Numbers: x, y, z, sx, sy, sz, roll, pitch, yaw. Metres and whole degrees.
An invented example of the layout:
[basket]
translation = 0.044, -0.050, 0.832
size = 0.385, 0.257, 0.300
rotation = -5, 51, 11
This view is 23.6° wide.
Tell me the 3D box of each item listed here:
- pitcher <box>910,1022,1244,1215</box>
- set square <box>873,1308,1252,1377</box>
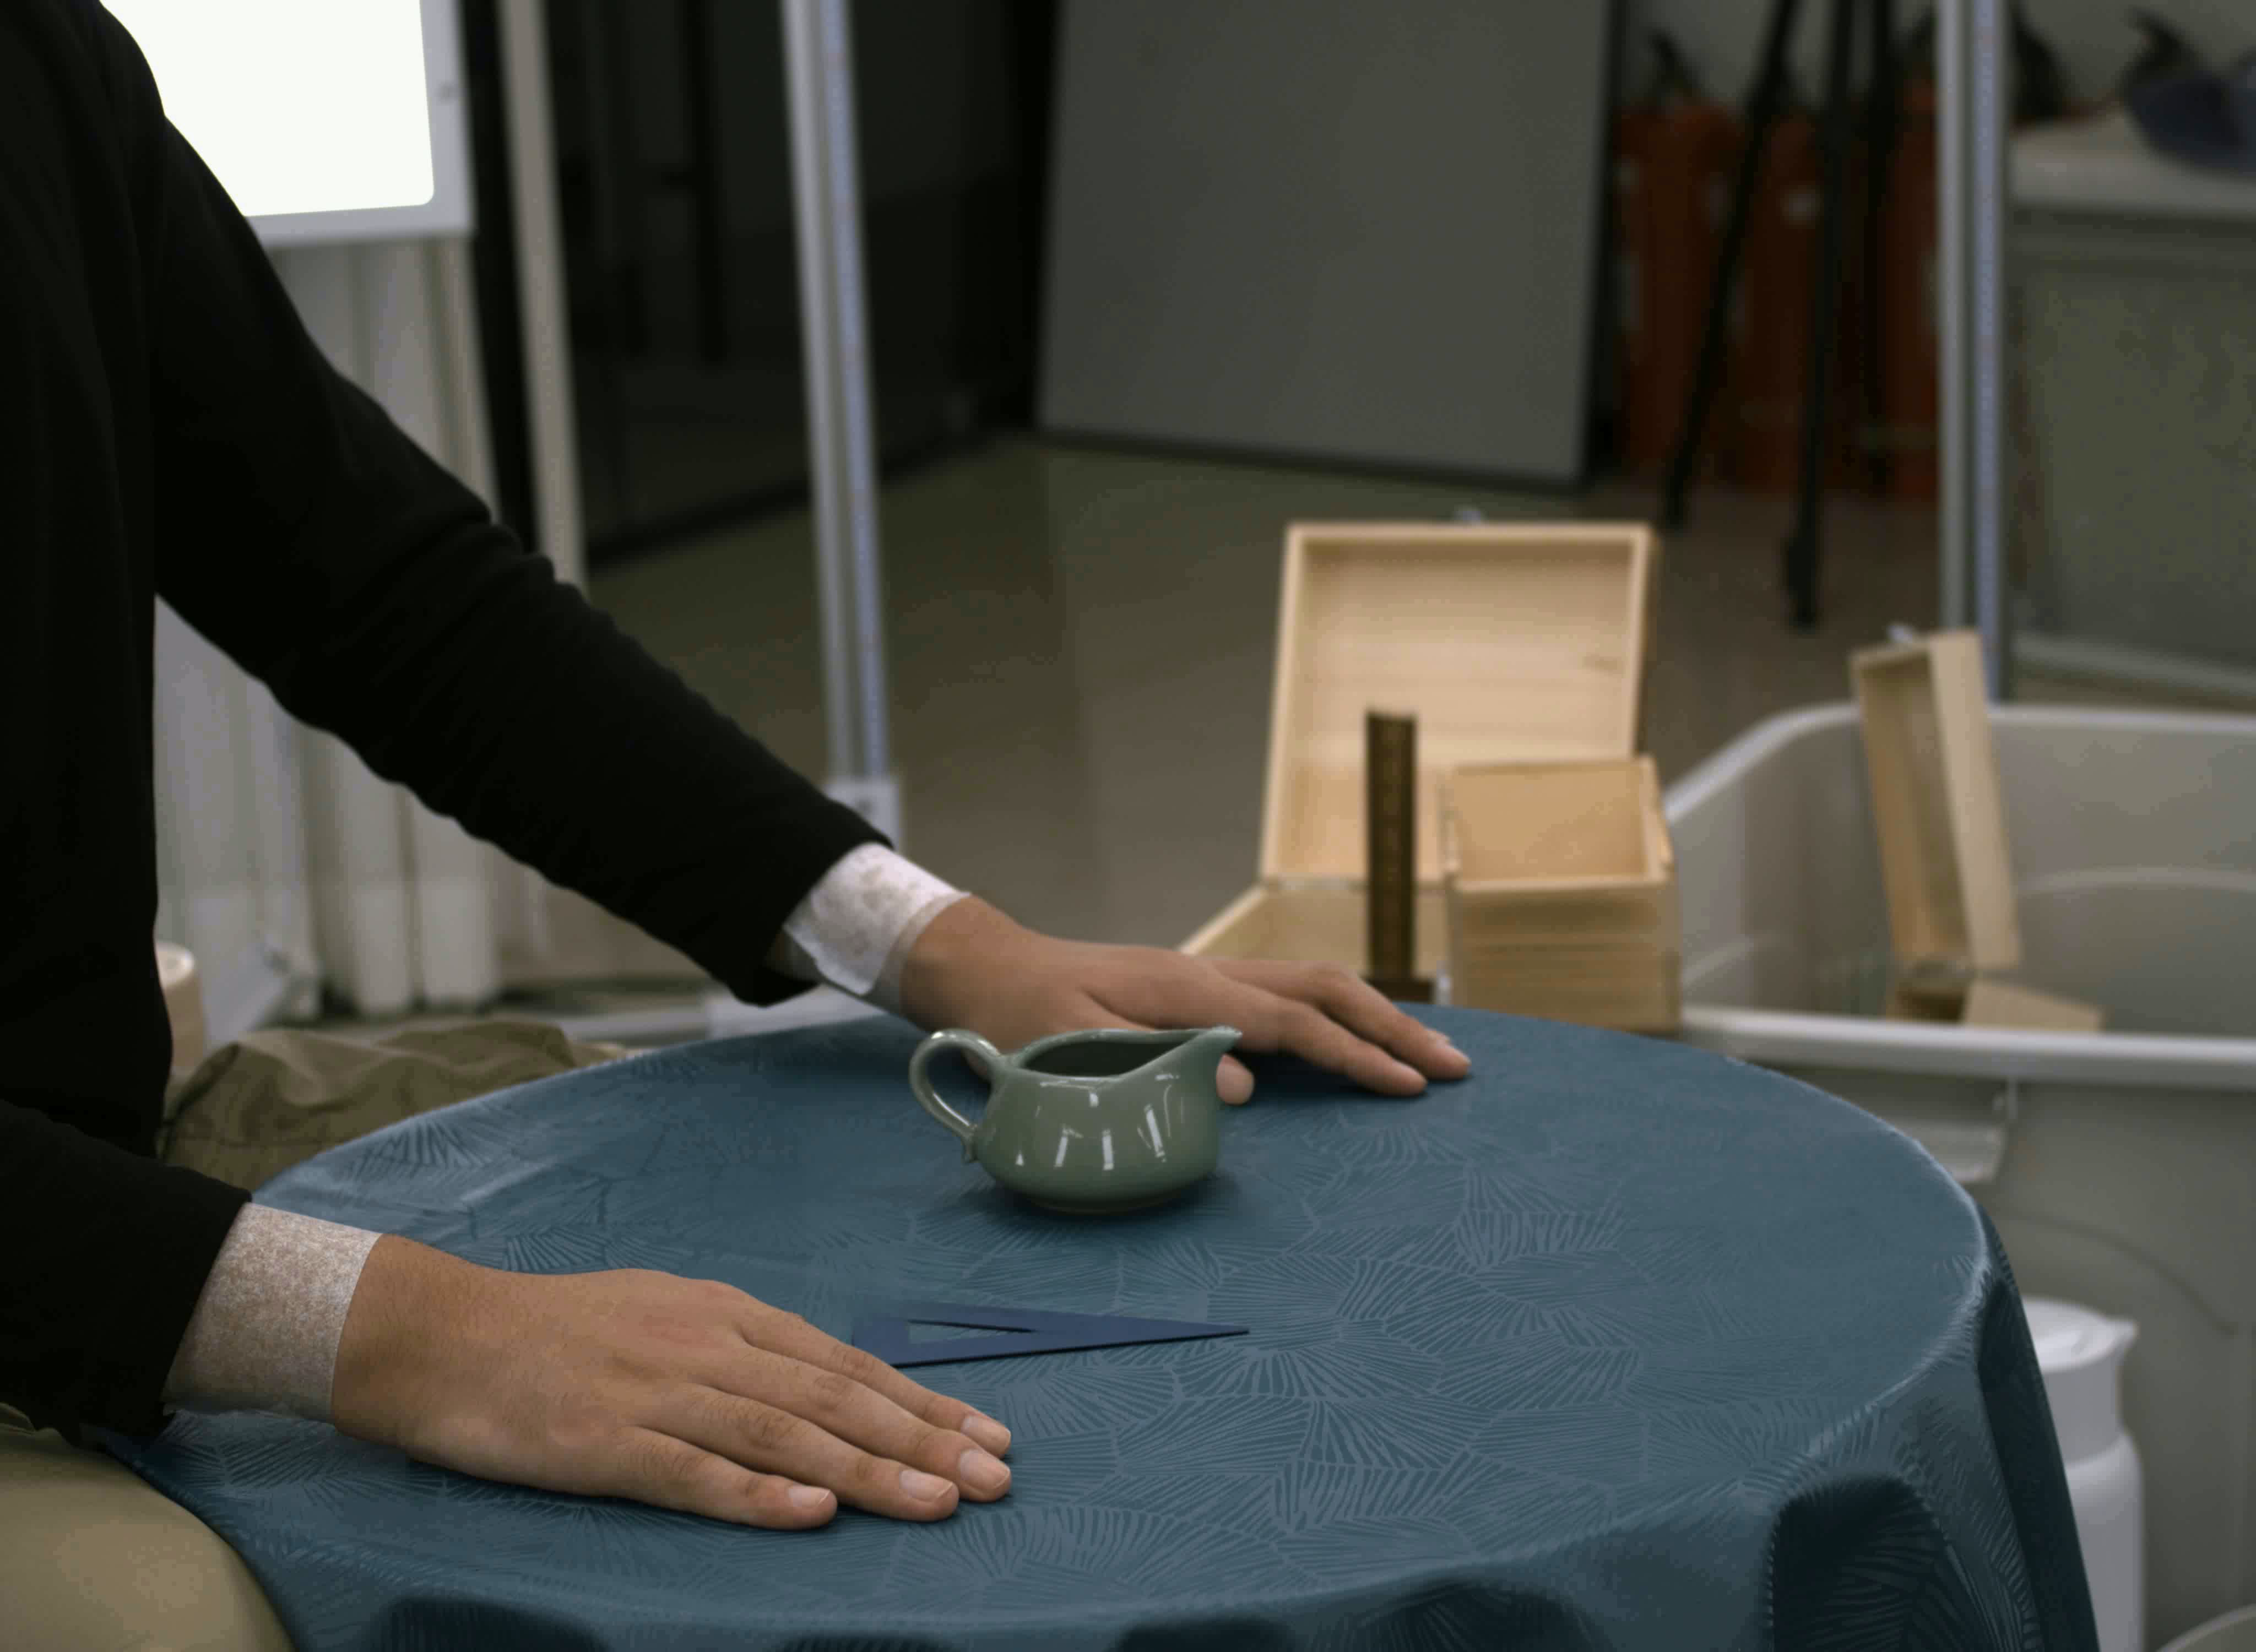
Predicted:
[pitcher]
translation = -0.016, 0.094, 1.769
size = 0.112, 0.057, 0.084
rotation = -2, 11, 10
[set square]
translation = -0.030, 0.158, 1.620
size = 0.132, 0.006, 0.060
rotation = 3, 15, 28
